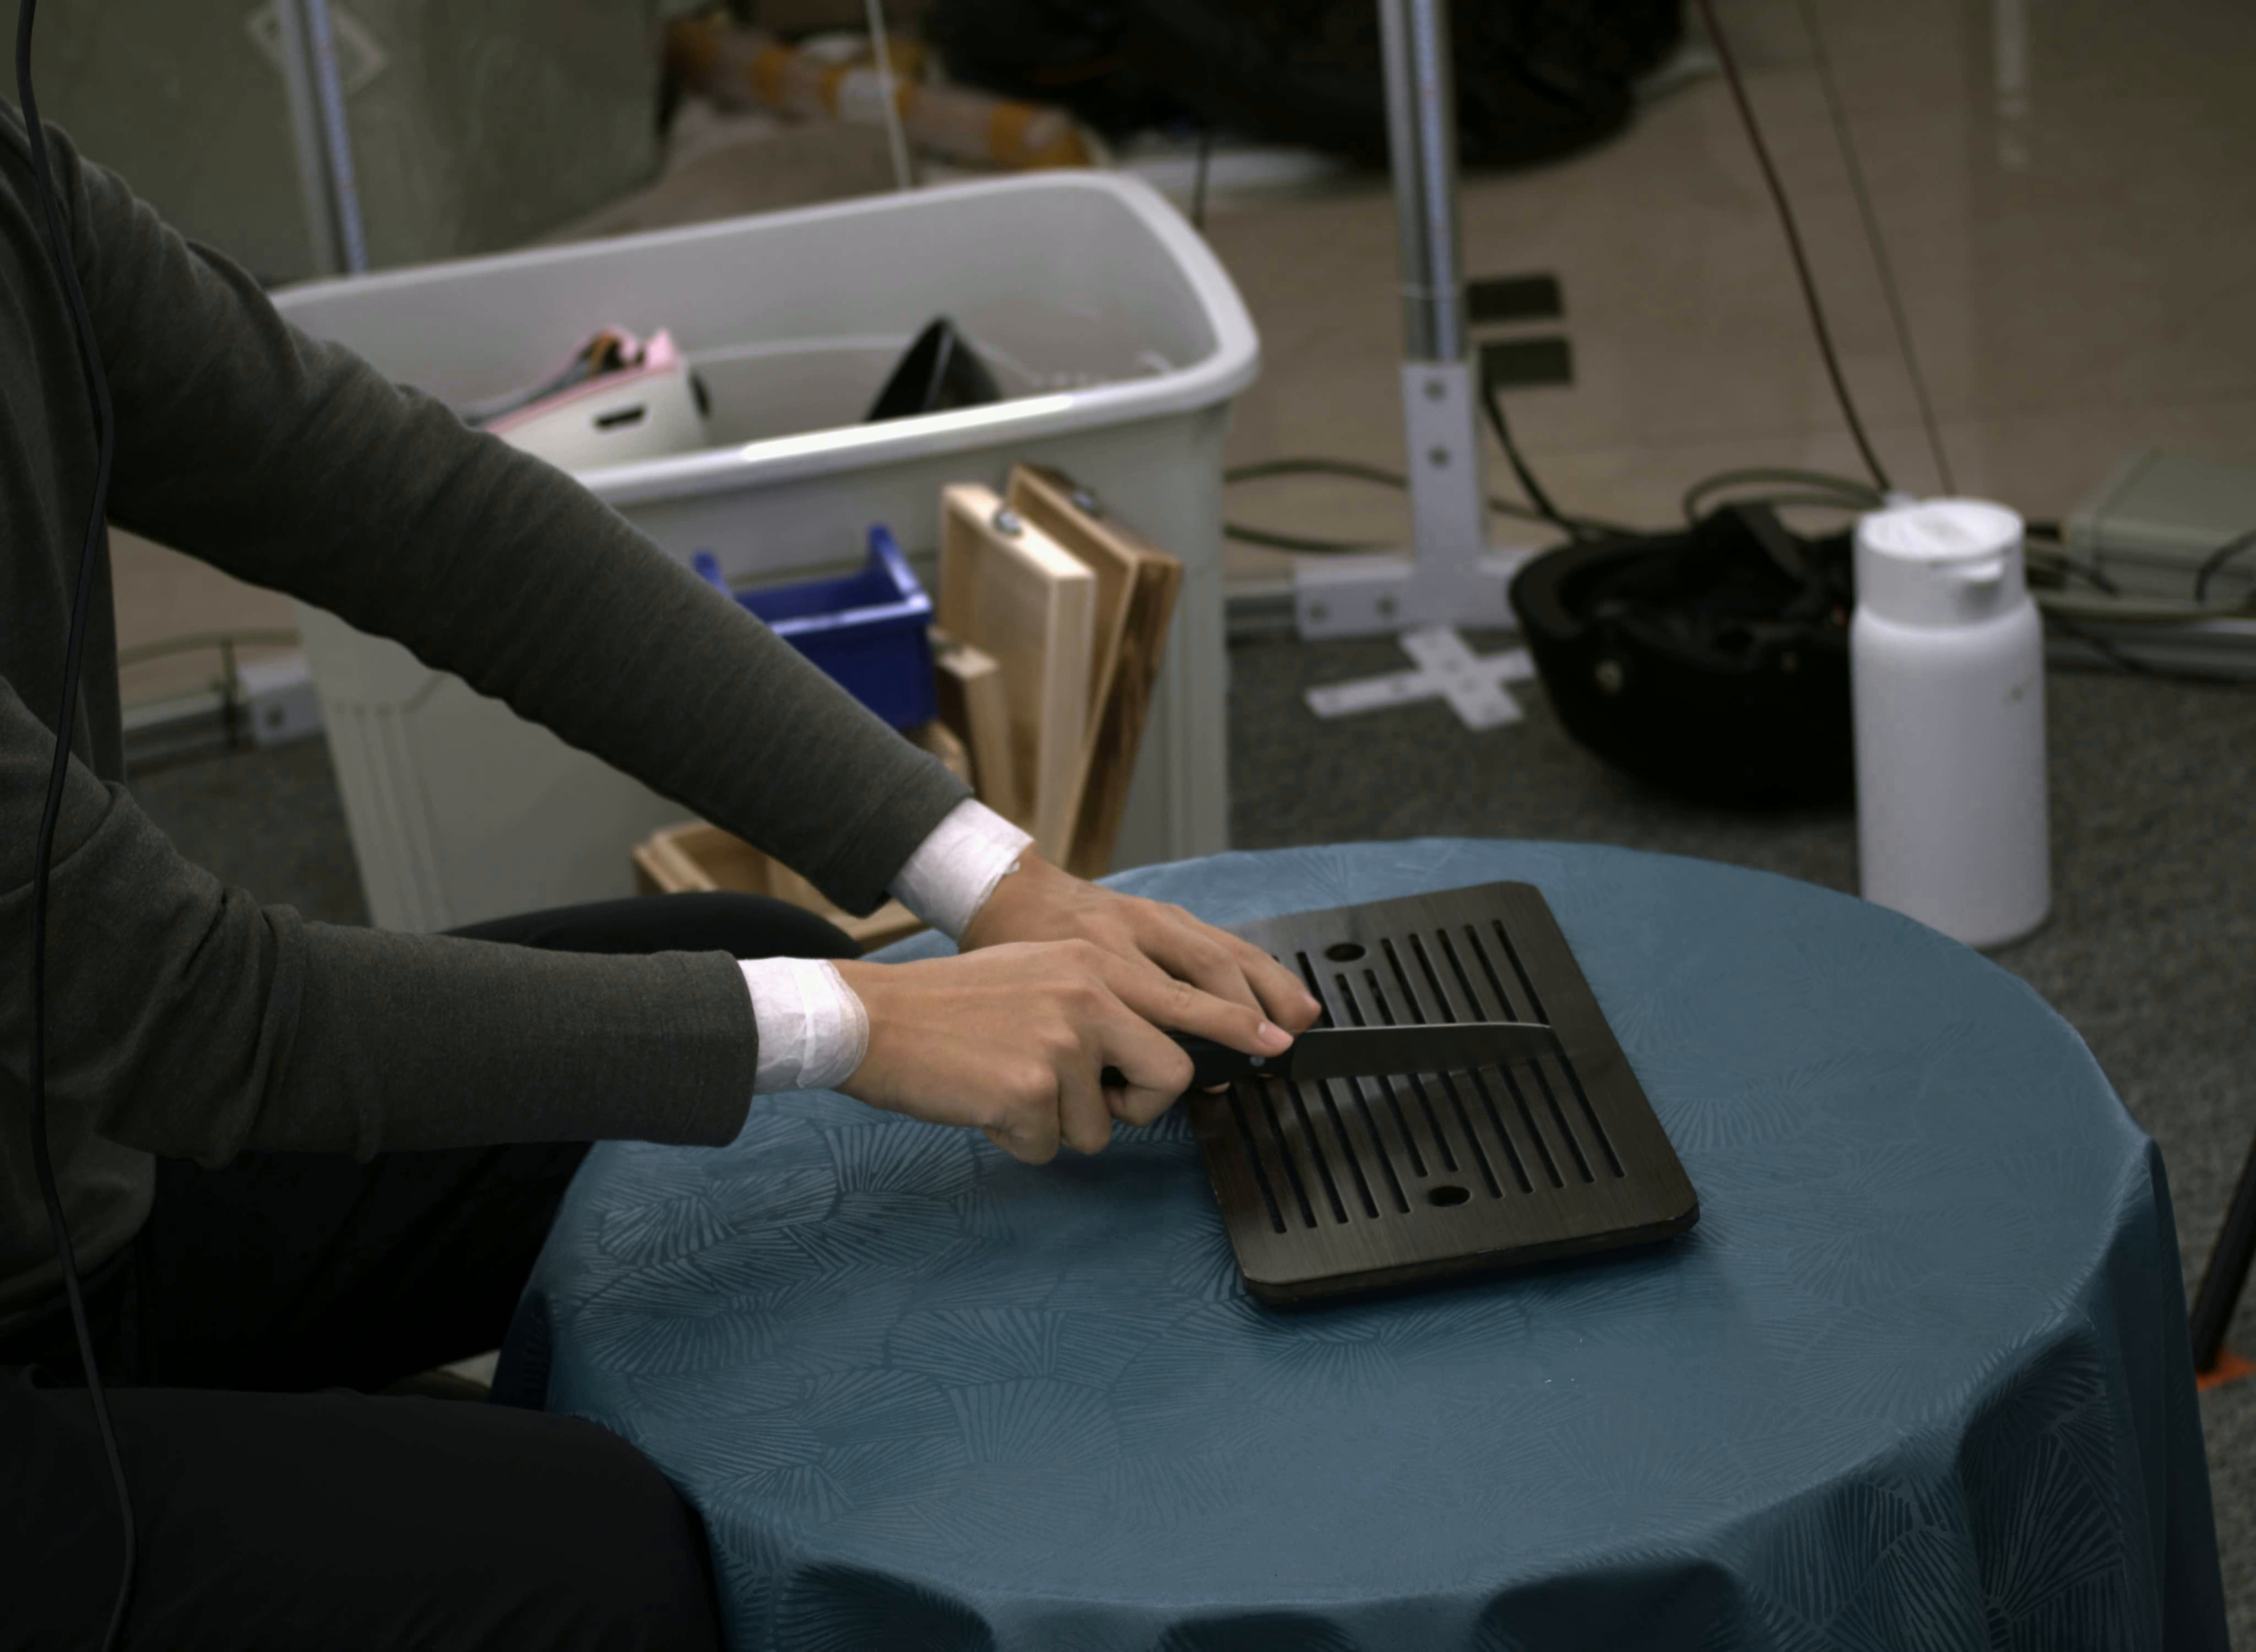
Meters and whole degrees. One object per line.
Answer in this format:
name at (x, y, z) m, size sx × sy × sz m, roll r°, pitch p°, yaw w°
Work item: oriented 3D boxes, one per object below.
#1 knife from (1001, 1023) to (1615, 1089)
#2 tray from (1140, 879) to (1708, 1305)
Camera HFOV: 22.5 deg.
knife at (0.070, 0.086, 2.162) m, size 0.238 × 0.025 × 0.016 m, roll -2°, pitch 26°, yaw -8°
tray at (0.108, 0.100, 2.187) m, size 0.170 × 0.019 × 0.301 m, roll -10°, pitch 25°, yaw -5°
